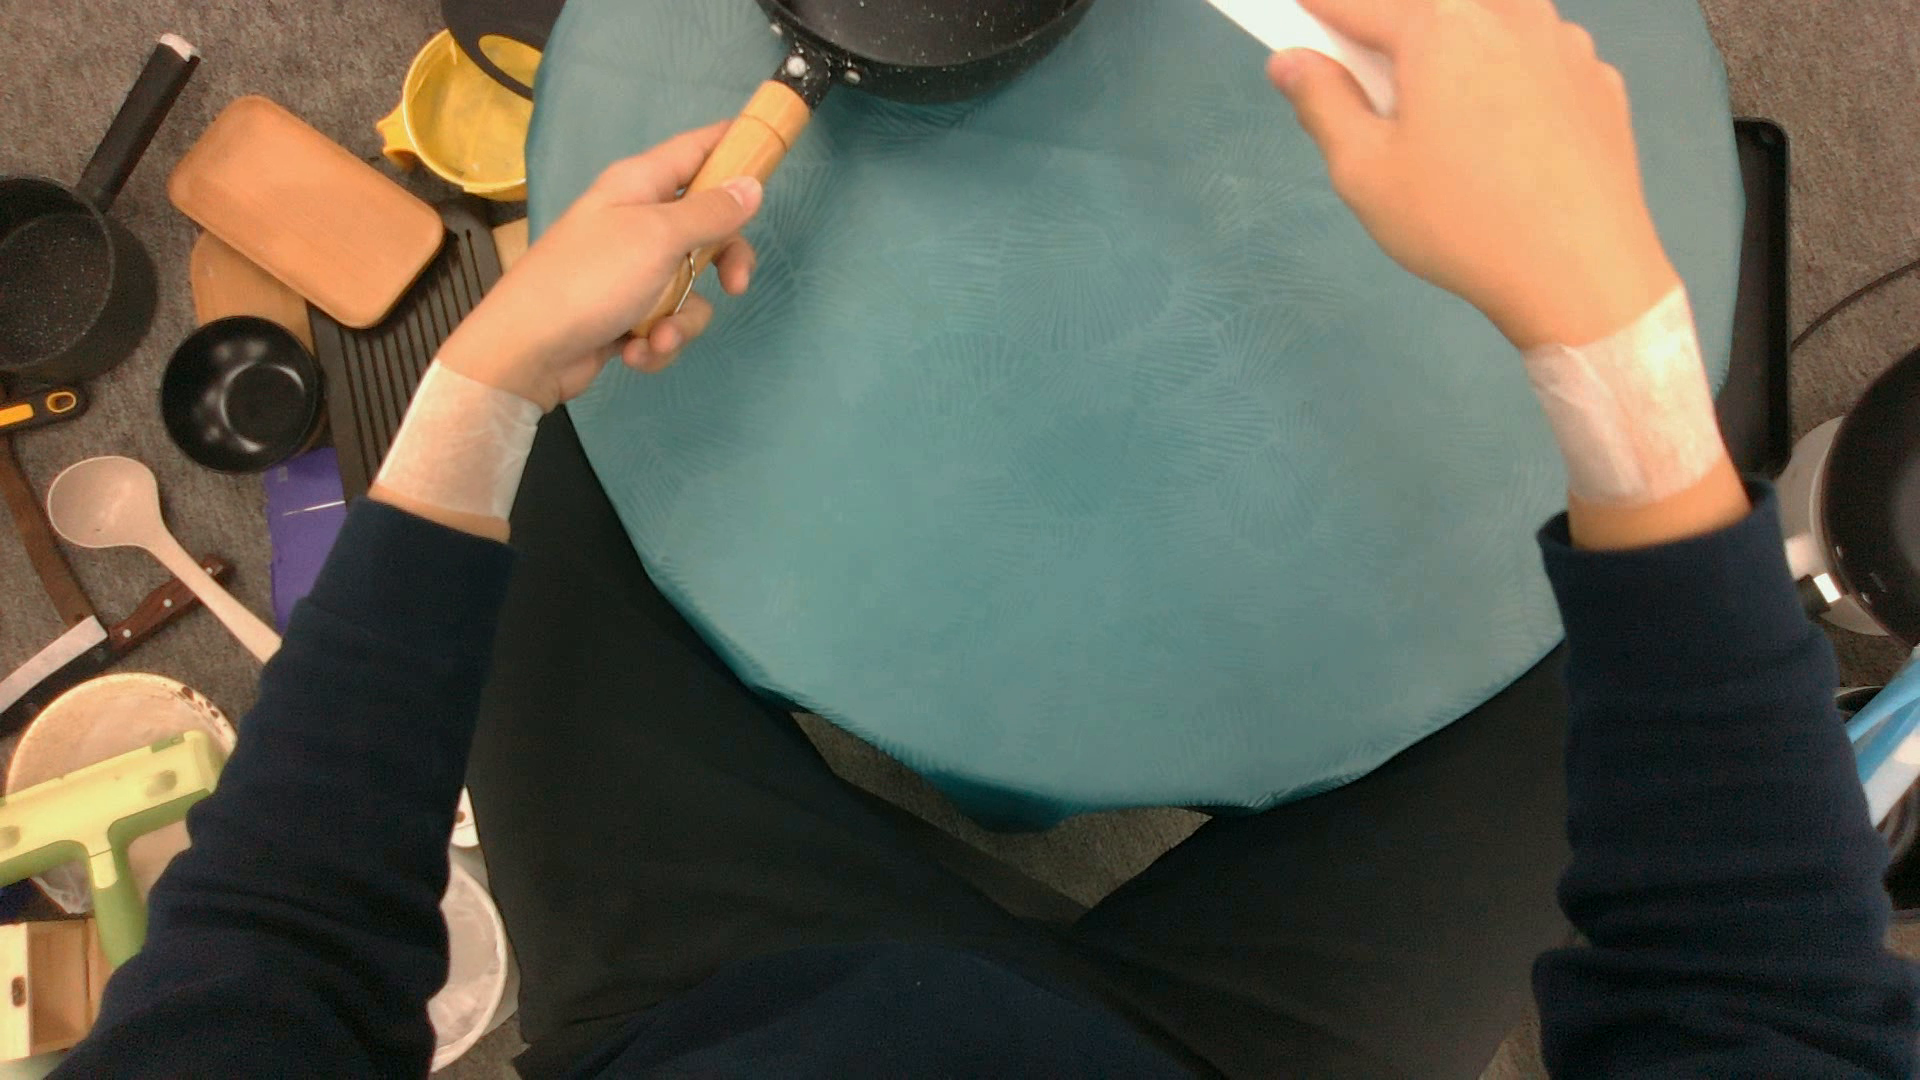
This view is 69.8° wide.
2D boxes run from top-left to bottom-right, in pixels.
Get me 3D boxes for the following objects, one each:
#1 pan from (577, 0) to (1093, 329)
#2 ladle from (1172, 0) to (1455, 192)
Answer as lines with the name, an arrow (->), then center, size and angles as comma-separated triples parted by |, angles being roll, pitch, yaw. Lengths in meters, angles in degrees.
pan -> -0.063, -0.232, 0.629 | 0.207, 0.108, 0.343 | 29, 84, 1
ladle -> 0.071, -0.234, 0.505 | 0.293, 0.090, 0.069 | 46, 119, 28
